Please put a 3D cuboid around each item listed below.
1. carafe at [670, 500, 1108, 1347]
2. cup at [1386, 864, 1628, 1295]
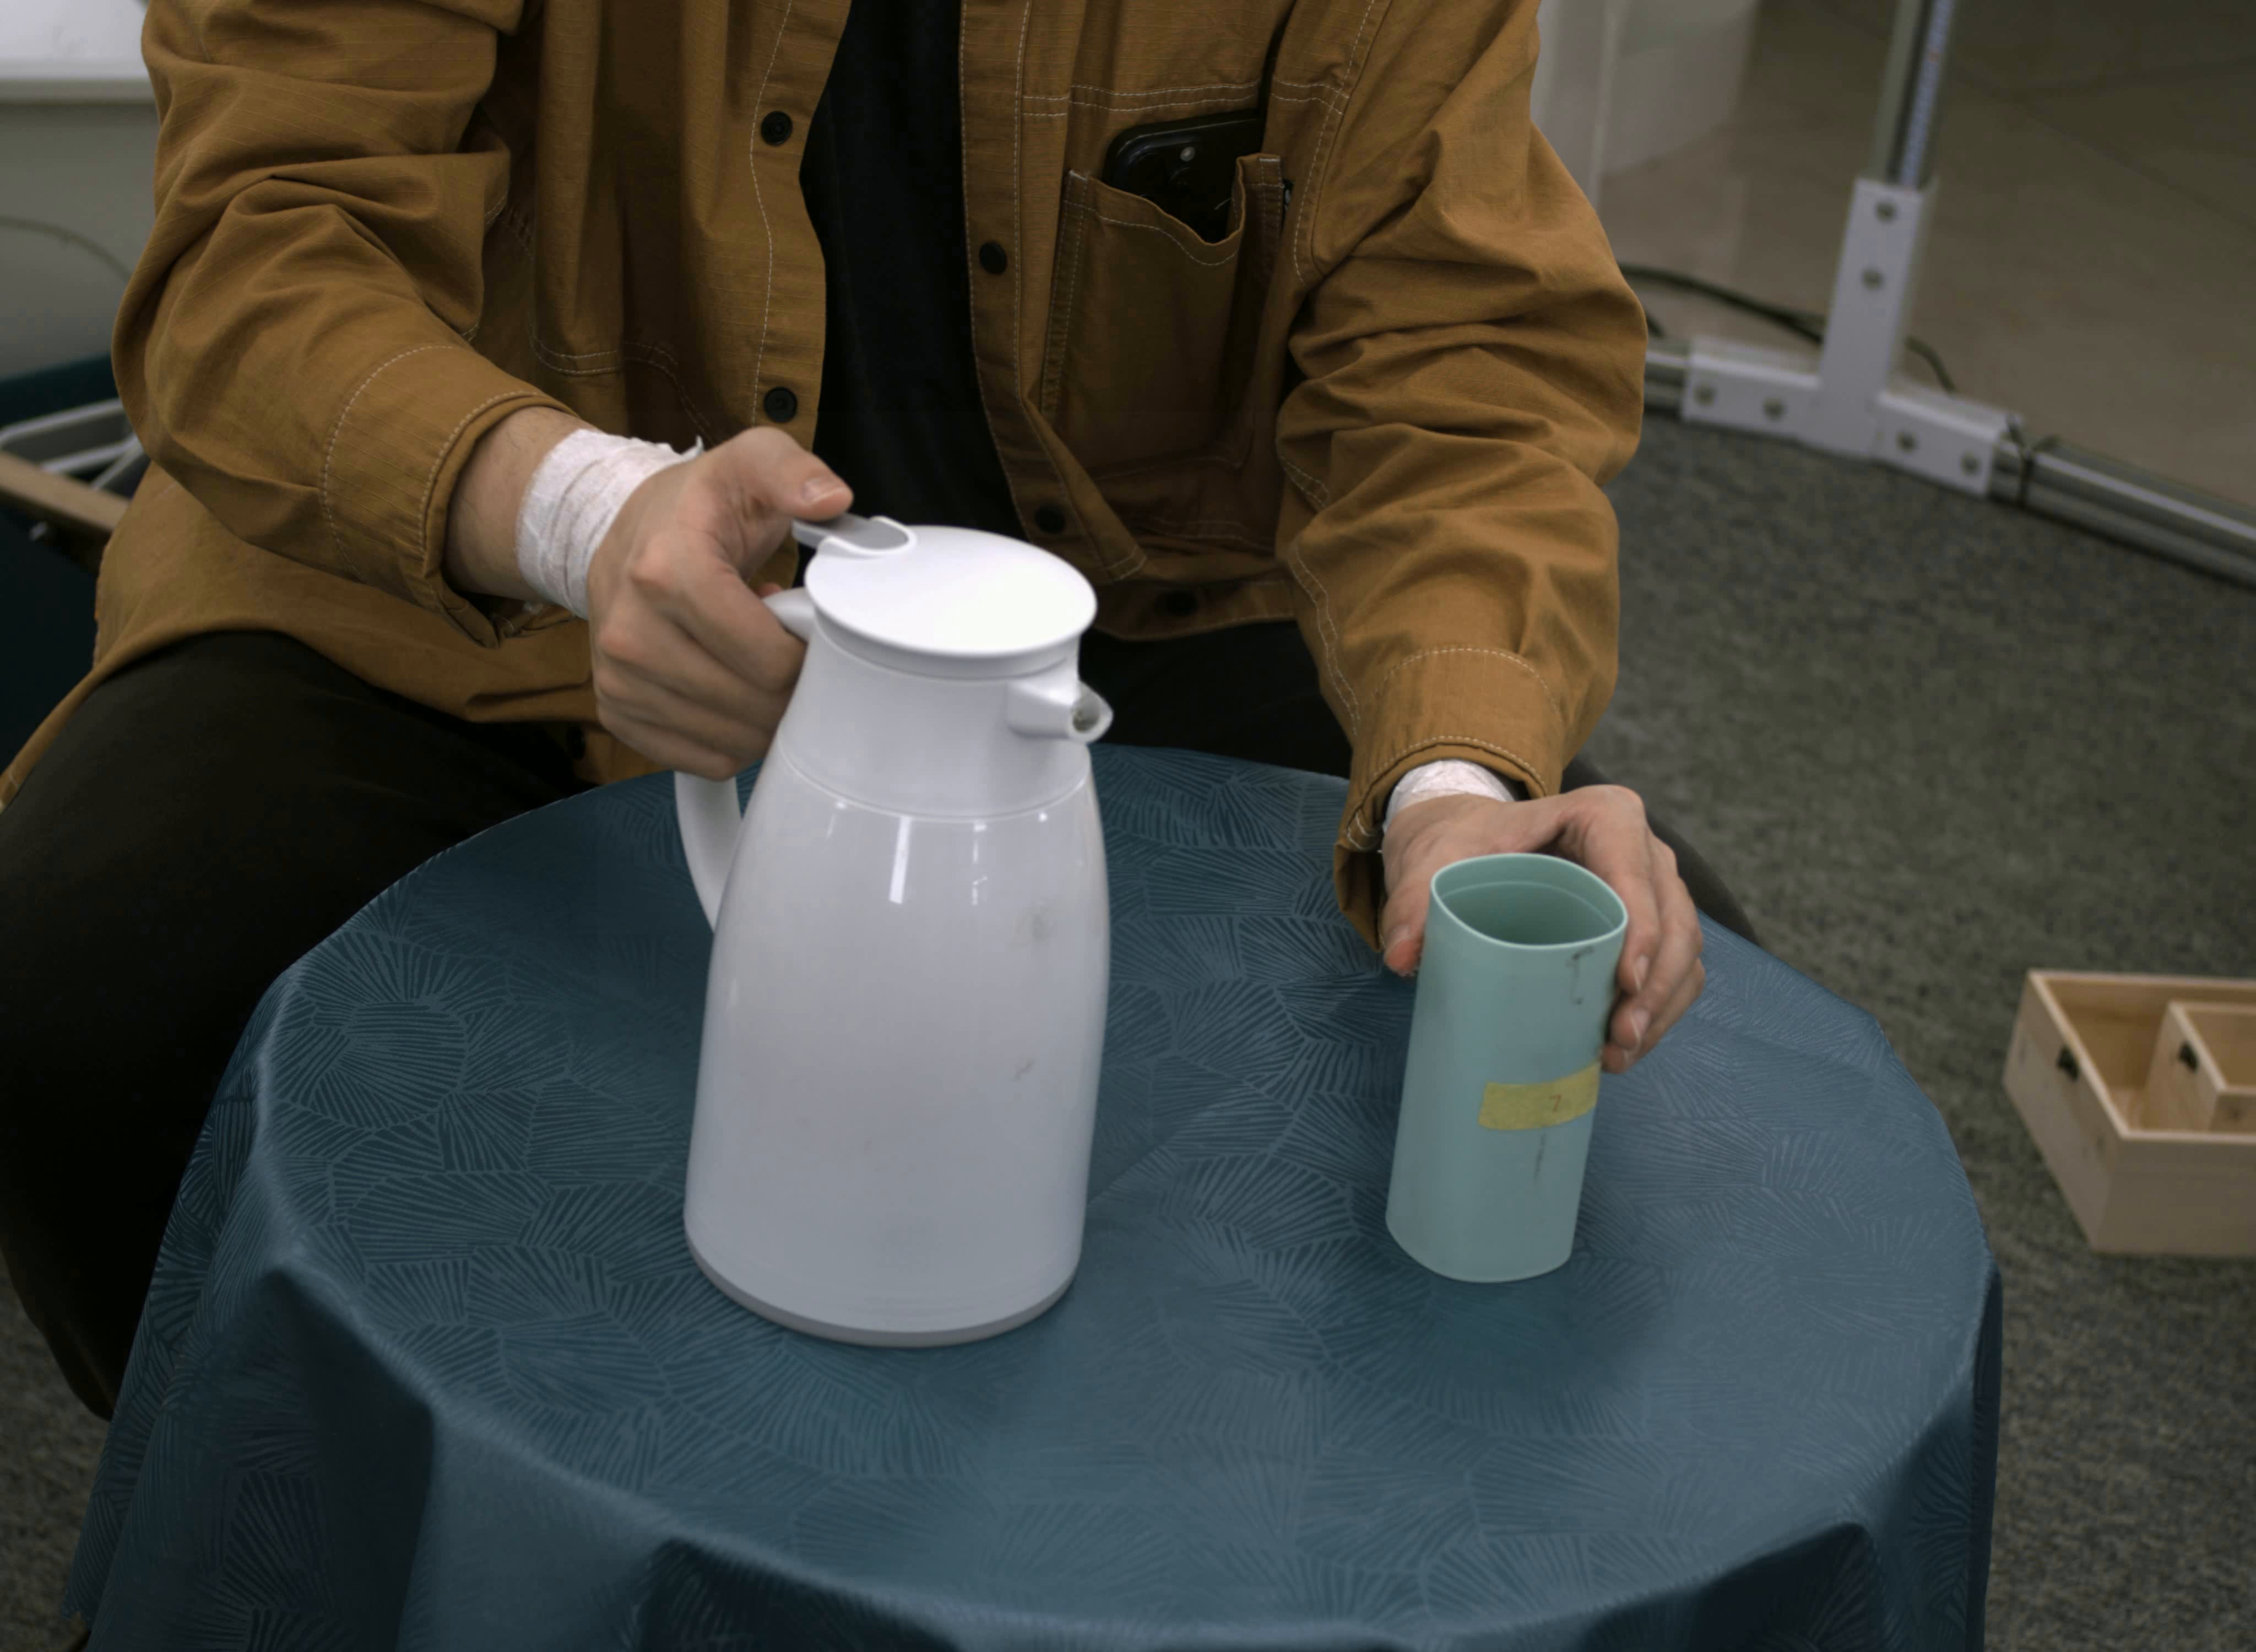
[{"bbox_3d":[-0.084,0.021,1.715,0.169,0.248,0.132,25,32,33],"label":"carafe"},{"bbox_3d":[0.125,0.084,1.774,0.066,0.132,0.067,5,27,-3],"label":"cup"}]
